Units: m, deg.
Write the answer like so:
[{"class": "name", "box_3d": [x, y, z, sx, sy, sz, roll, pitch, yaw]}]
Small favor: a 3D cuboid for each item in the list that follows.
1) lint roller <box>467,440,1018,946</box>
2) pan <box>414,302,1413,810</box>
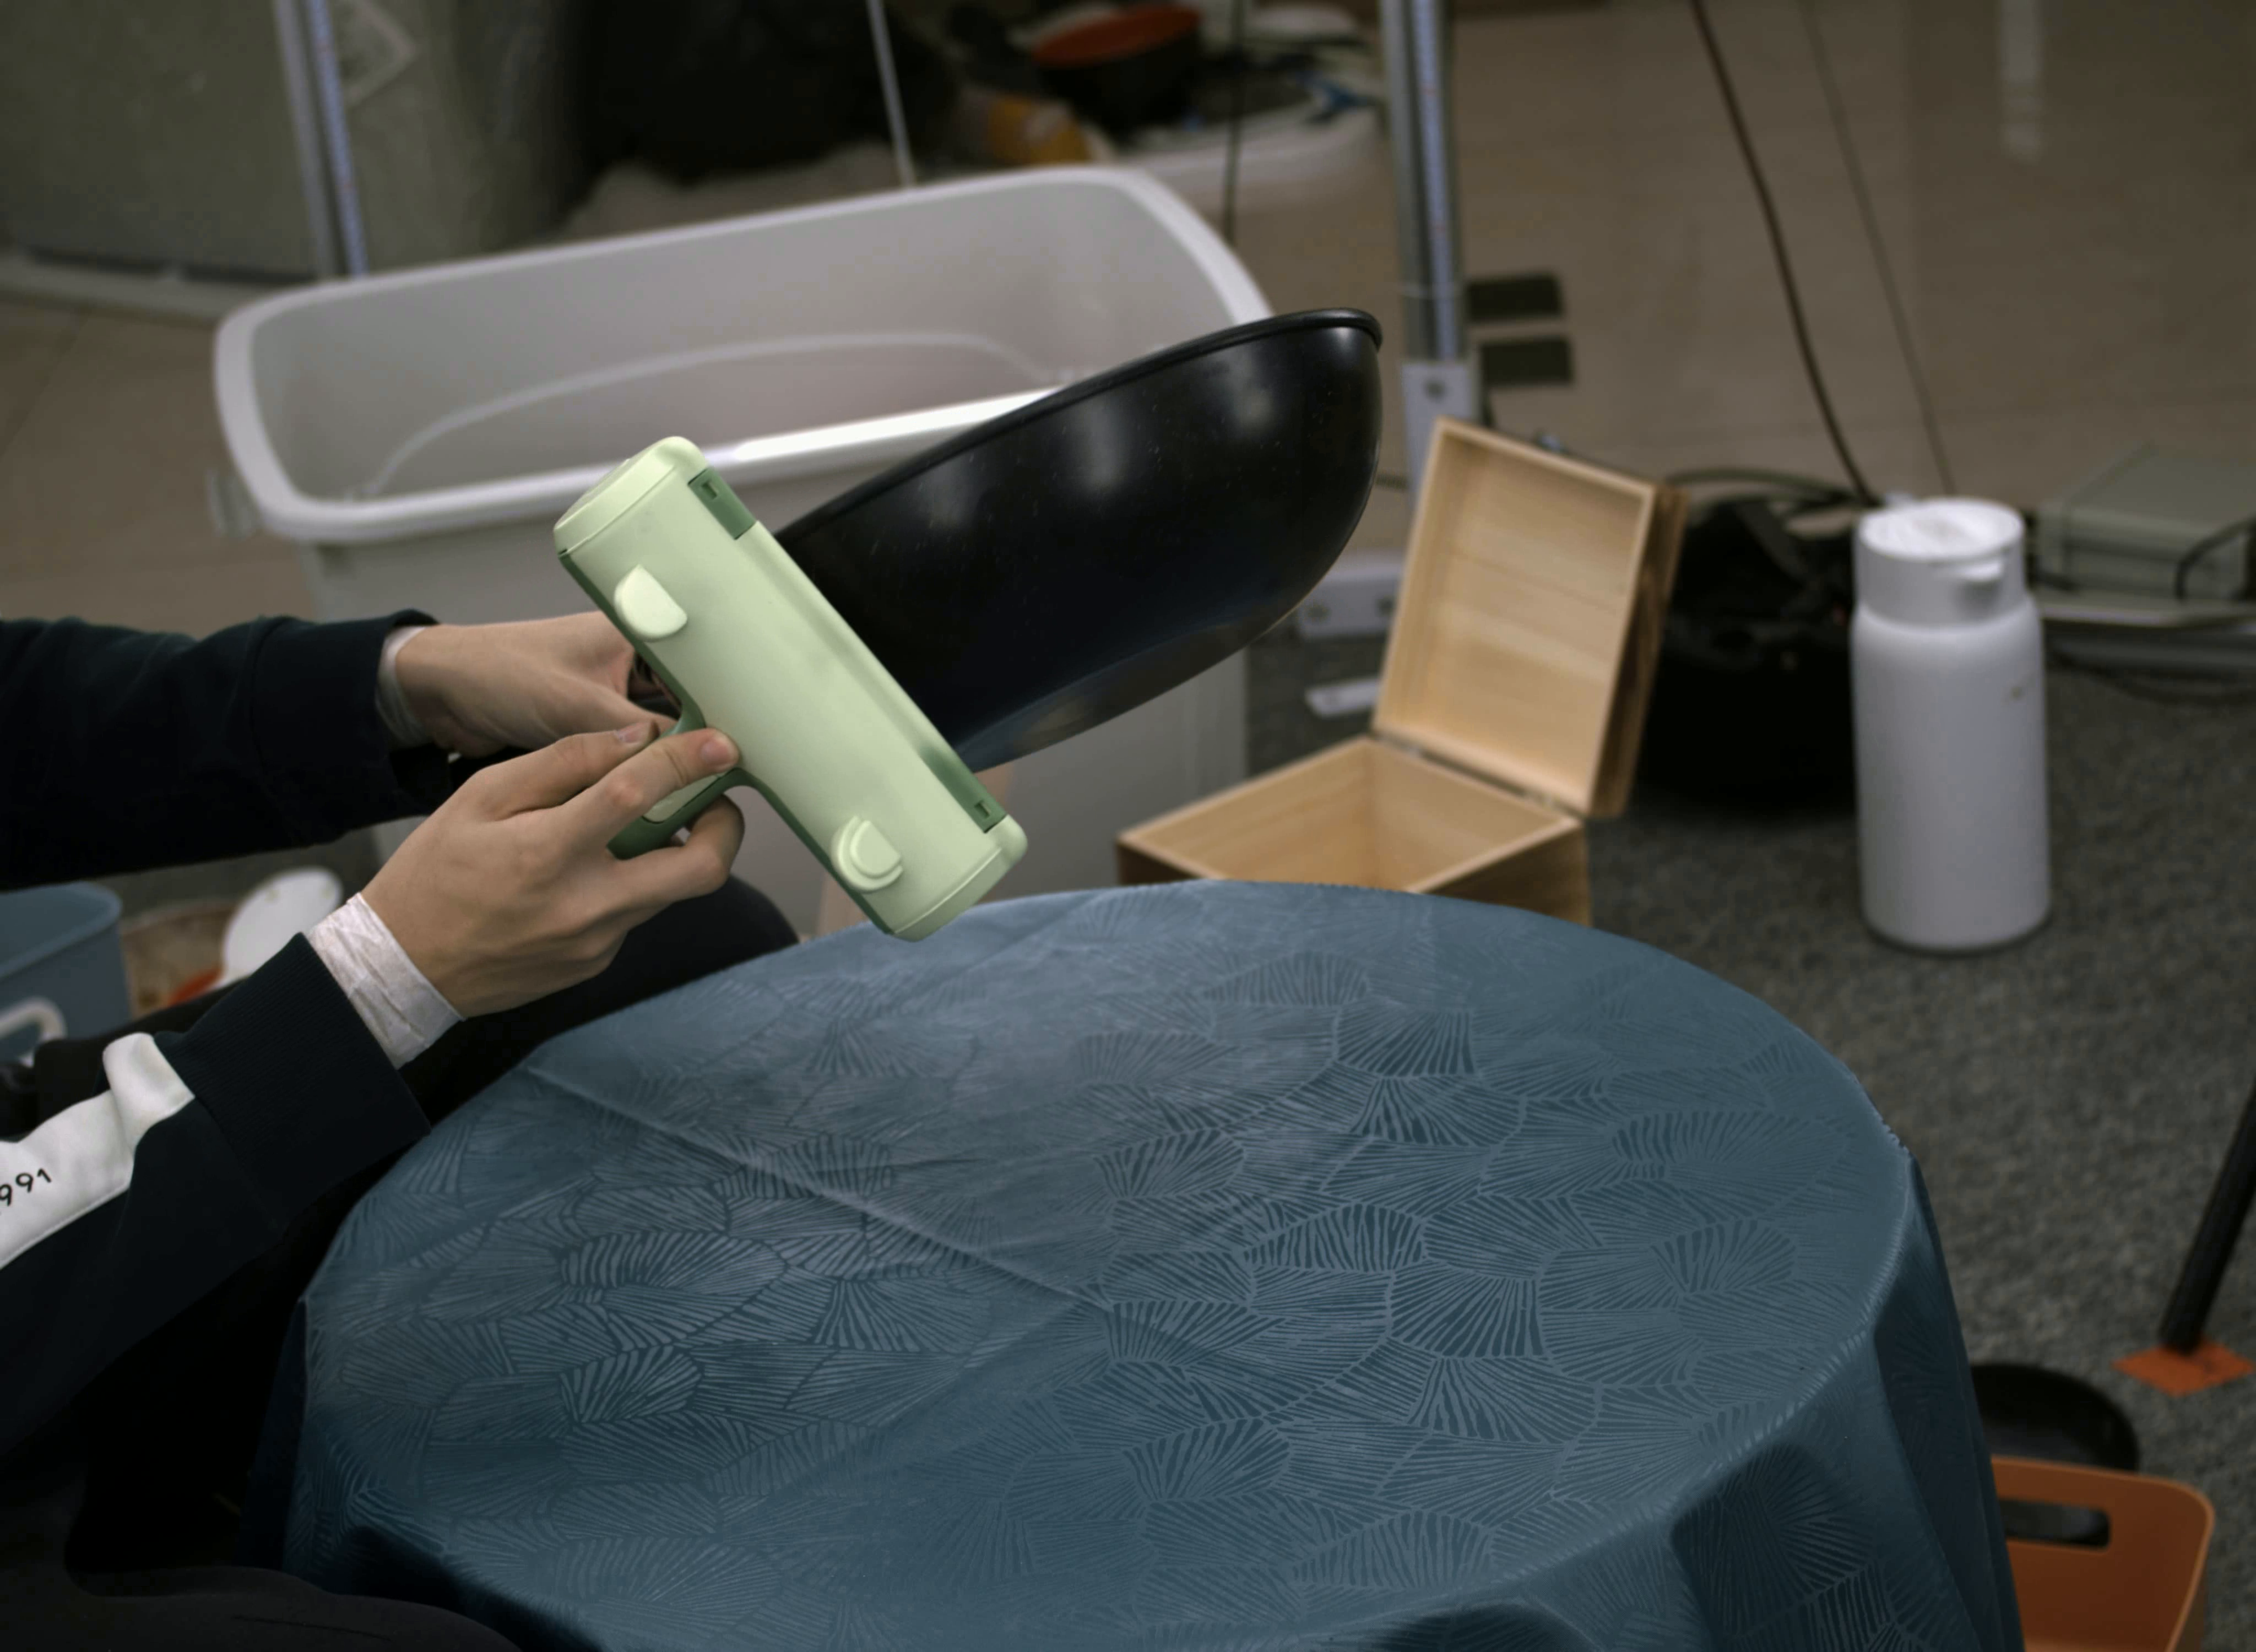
[{"class": "lint roller", "box_3d": [-0.167, -0.010, 1.995, 0.184, 0.200, 0.081, -37, 13, 13]}, {"class": "pan", "box_3d": [-0.088, -0.065, 2.158, 0.480, 0.111, 0.309, -28, -9, 32]}]
